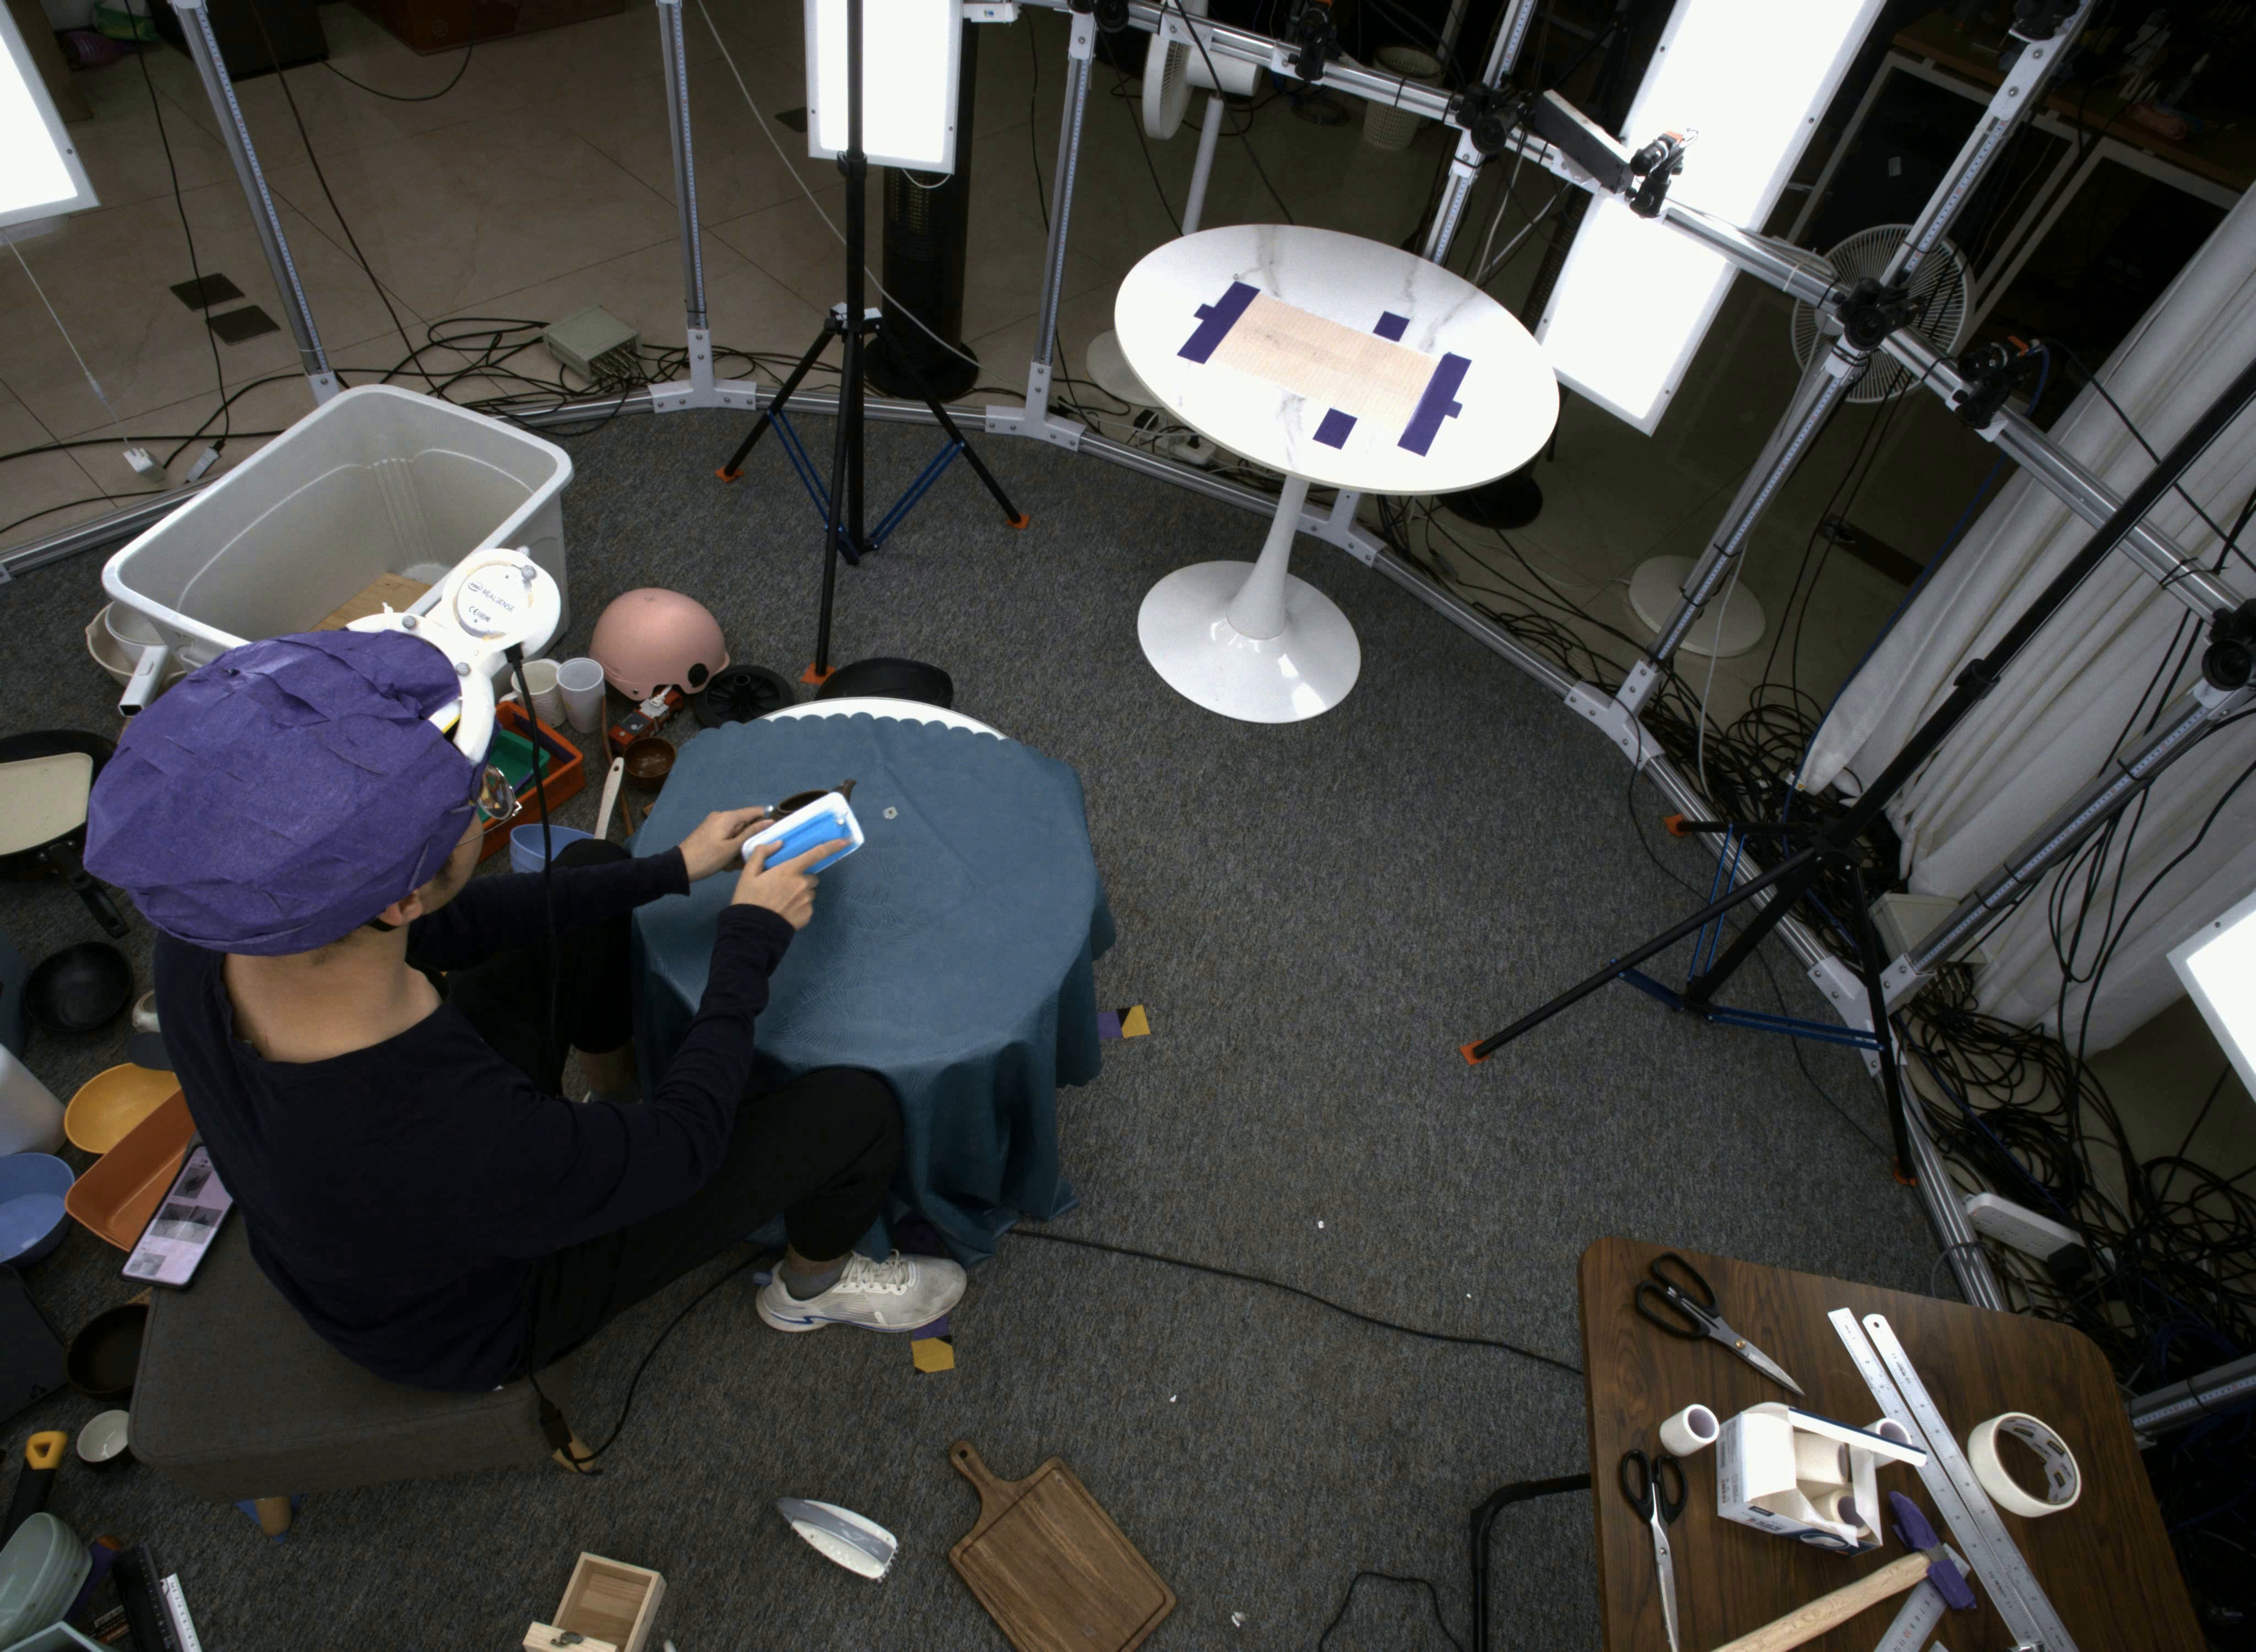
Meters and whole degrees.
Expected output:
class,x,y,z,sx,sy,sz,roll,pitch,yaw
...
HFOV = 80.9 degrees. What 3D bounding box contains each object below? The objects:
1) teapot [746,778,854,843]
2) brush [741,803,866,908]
class,x,y,z,sx,sy,sz,roll,pitch,yaw
teapot,-0.402,-0.012,1.610,0.154,0.055,0.099,-26,26,-38
brush,-0.388,0.034,1.560,0.144,0.054,0.086,-30,109,-21
